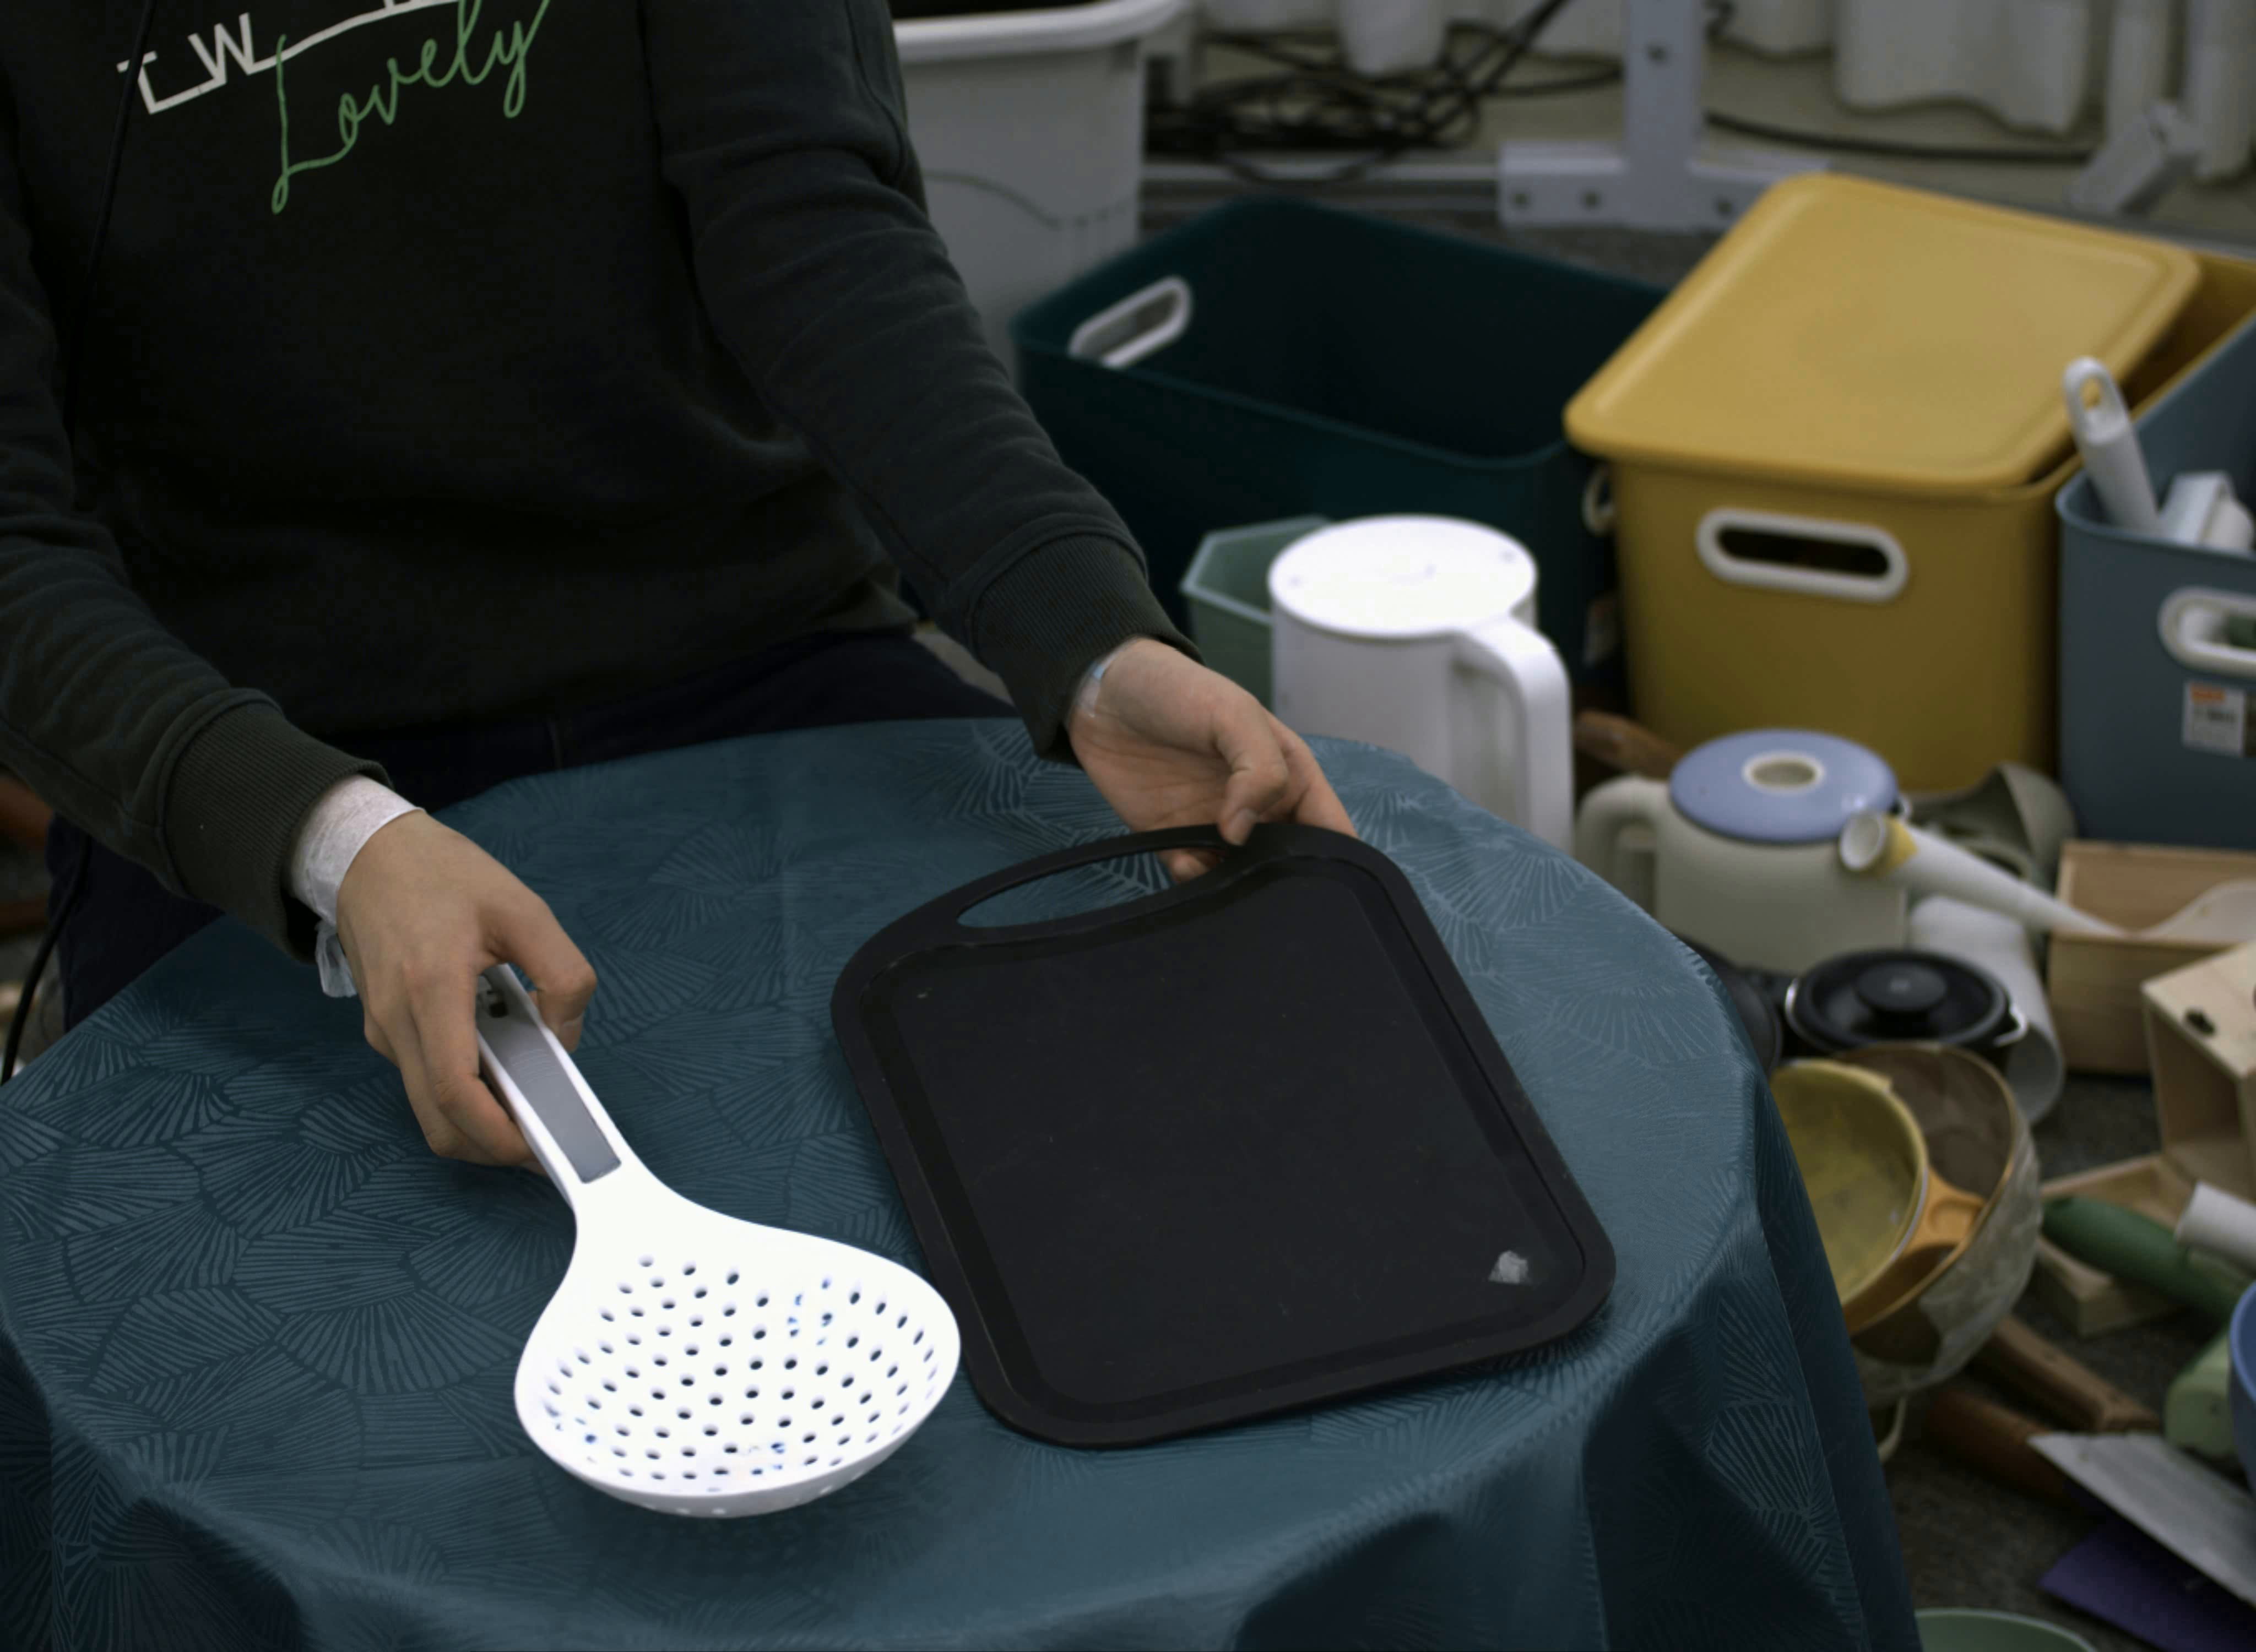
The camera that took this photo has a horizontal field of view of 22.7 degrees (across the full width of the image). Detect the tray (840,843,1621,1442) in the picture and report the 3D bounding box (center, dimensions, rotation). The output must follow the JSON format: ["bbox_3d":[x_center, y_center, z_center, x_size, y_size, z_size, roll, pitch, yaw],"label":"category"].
[{"bbox_3d":[0.025,0.094,1.871,0.211,0.009,0.329,-11,33,-10],"label":"tray"}]

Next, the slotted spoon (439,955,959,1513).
[{"bbox_3d":[-0.160,0.125,1.800,0.136,0.045,0.353,-13,34,-19],"label":"slotted spoon"}]
